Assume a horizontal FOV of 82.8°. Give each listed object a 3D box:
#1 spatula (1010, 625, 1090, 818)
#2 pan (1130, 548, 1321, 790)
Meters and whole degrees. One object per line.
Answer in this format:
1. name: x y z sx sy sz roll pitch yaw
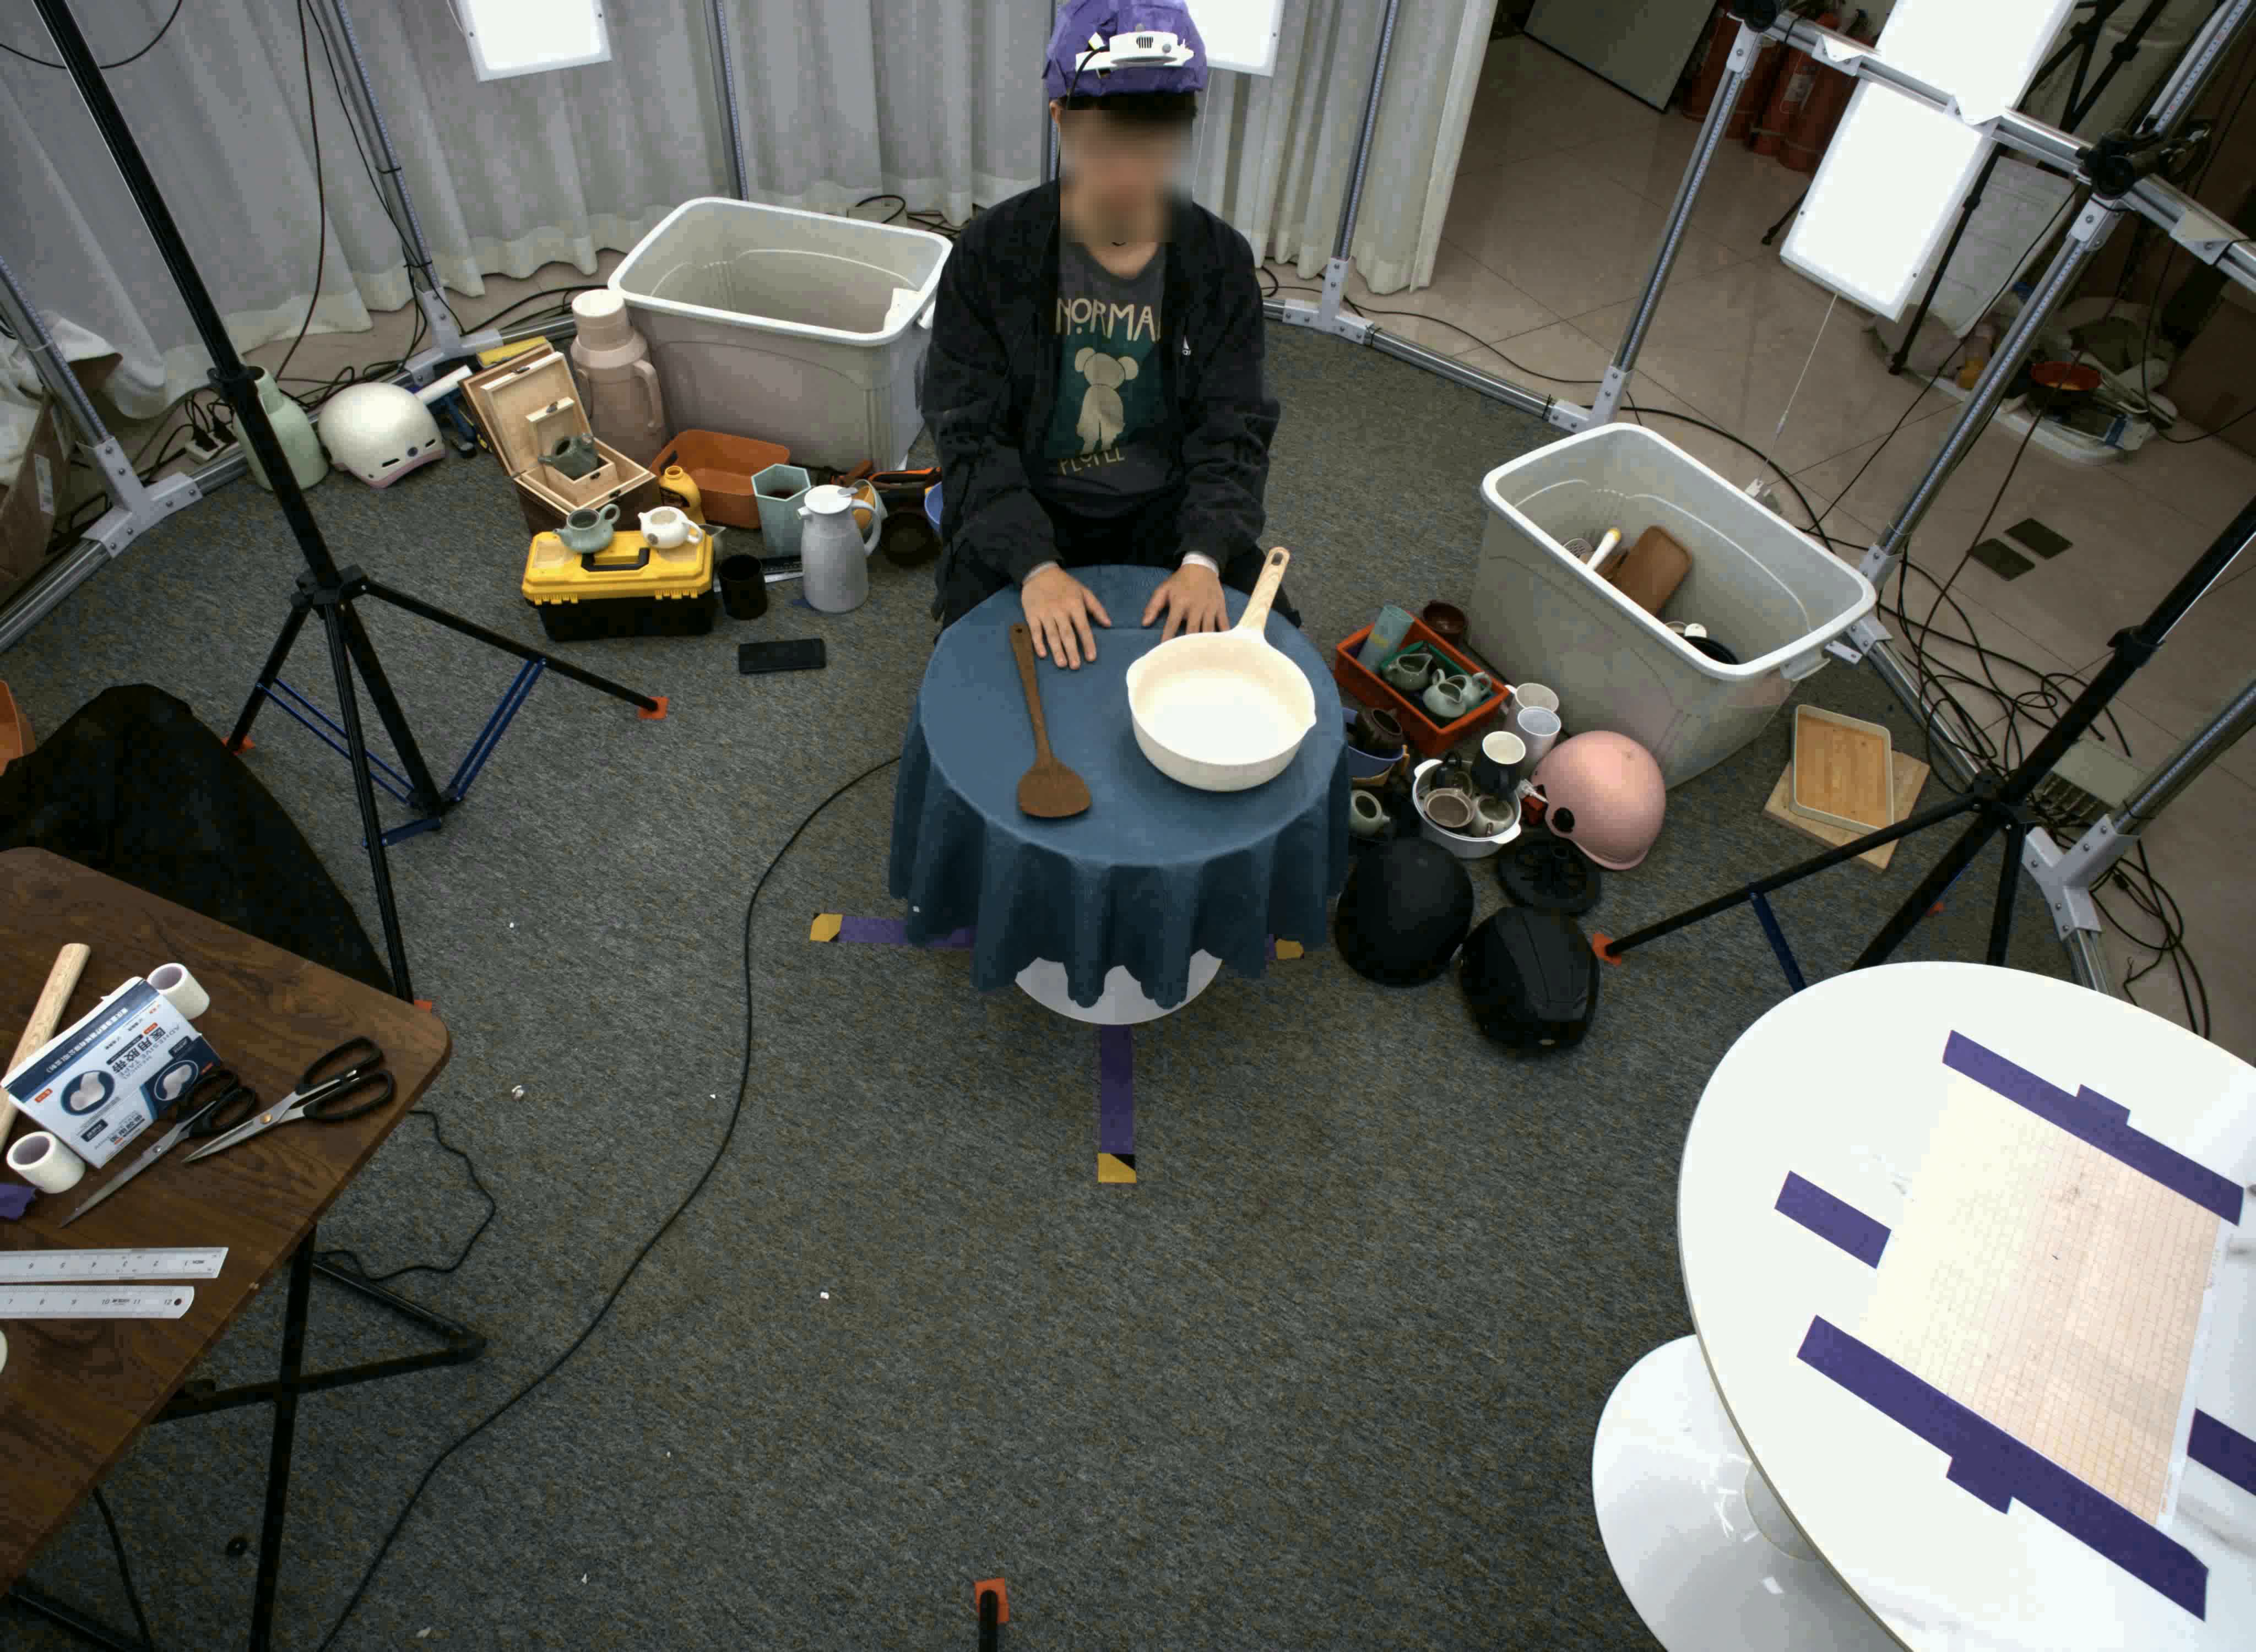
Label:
1. spatula: -0.127 -0.156 1.785 0.096 0.015 0.396 -6 49 -9
2. pan: 0.158 -0.222 1.804 0.264 0.099 0.444 15 50 12
